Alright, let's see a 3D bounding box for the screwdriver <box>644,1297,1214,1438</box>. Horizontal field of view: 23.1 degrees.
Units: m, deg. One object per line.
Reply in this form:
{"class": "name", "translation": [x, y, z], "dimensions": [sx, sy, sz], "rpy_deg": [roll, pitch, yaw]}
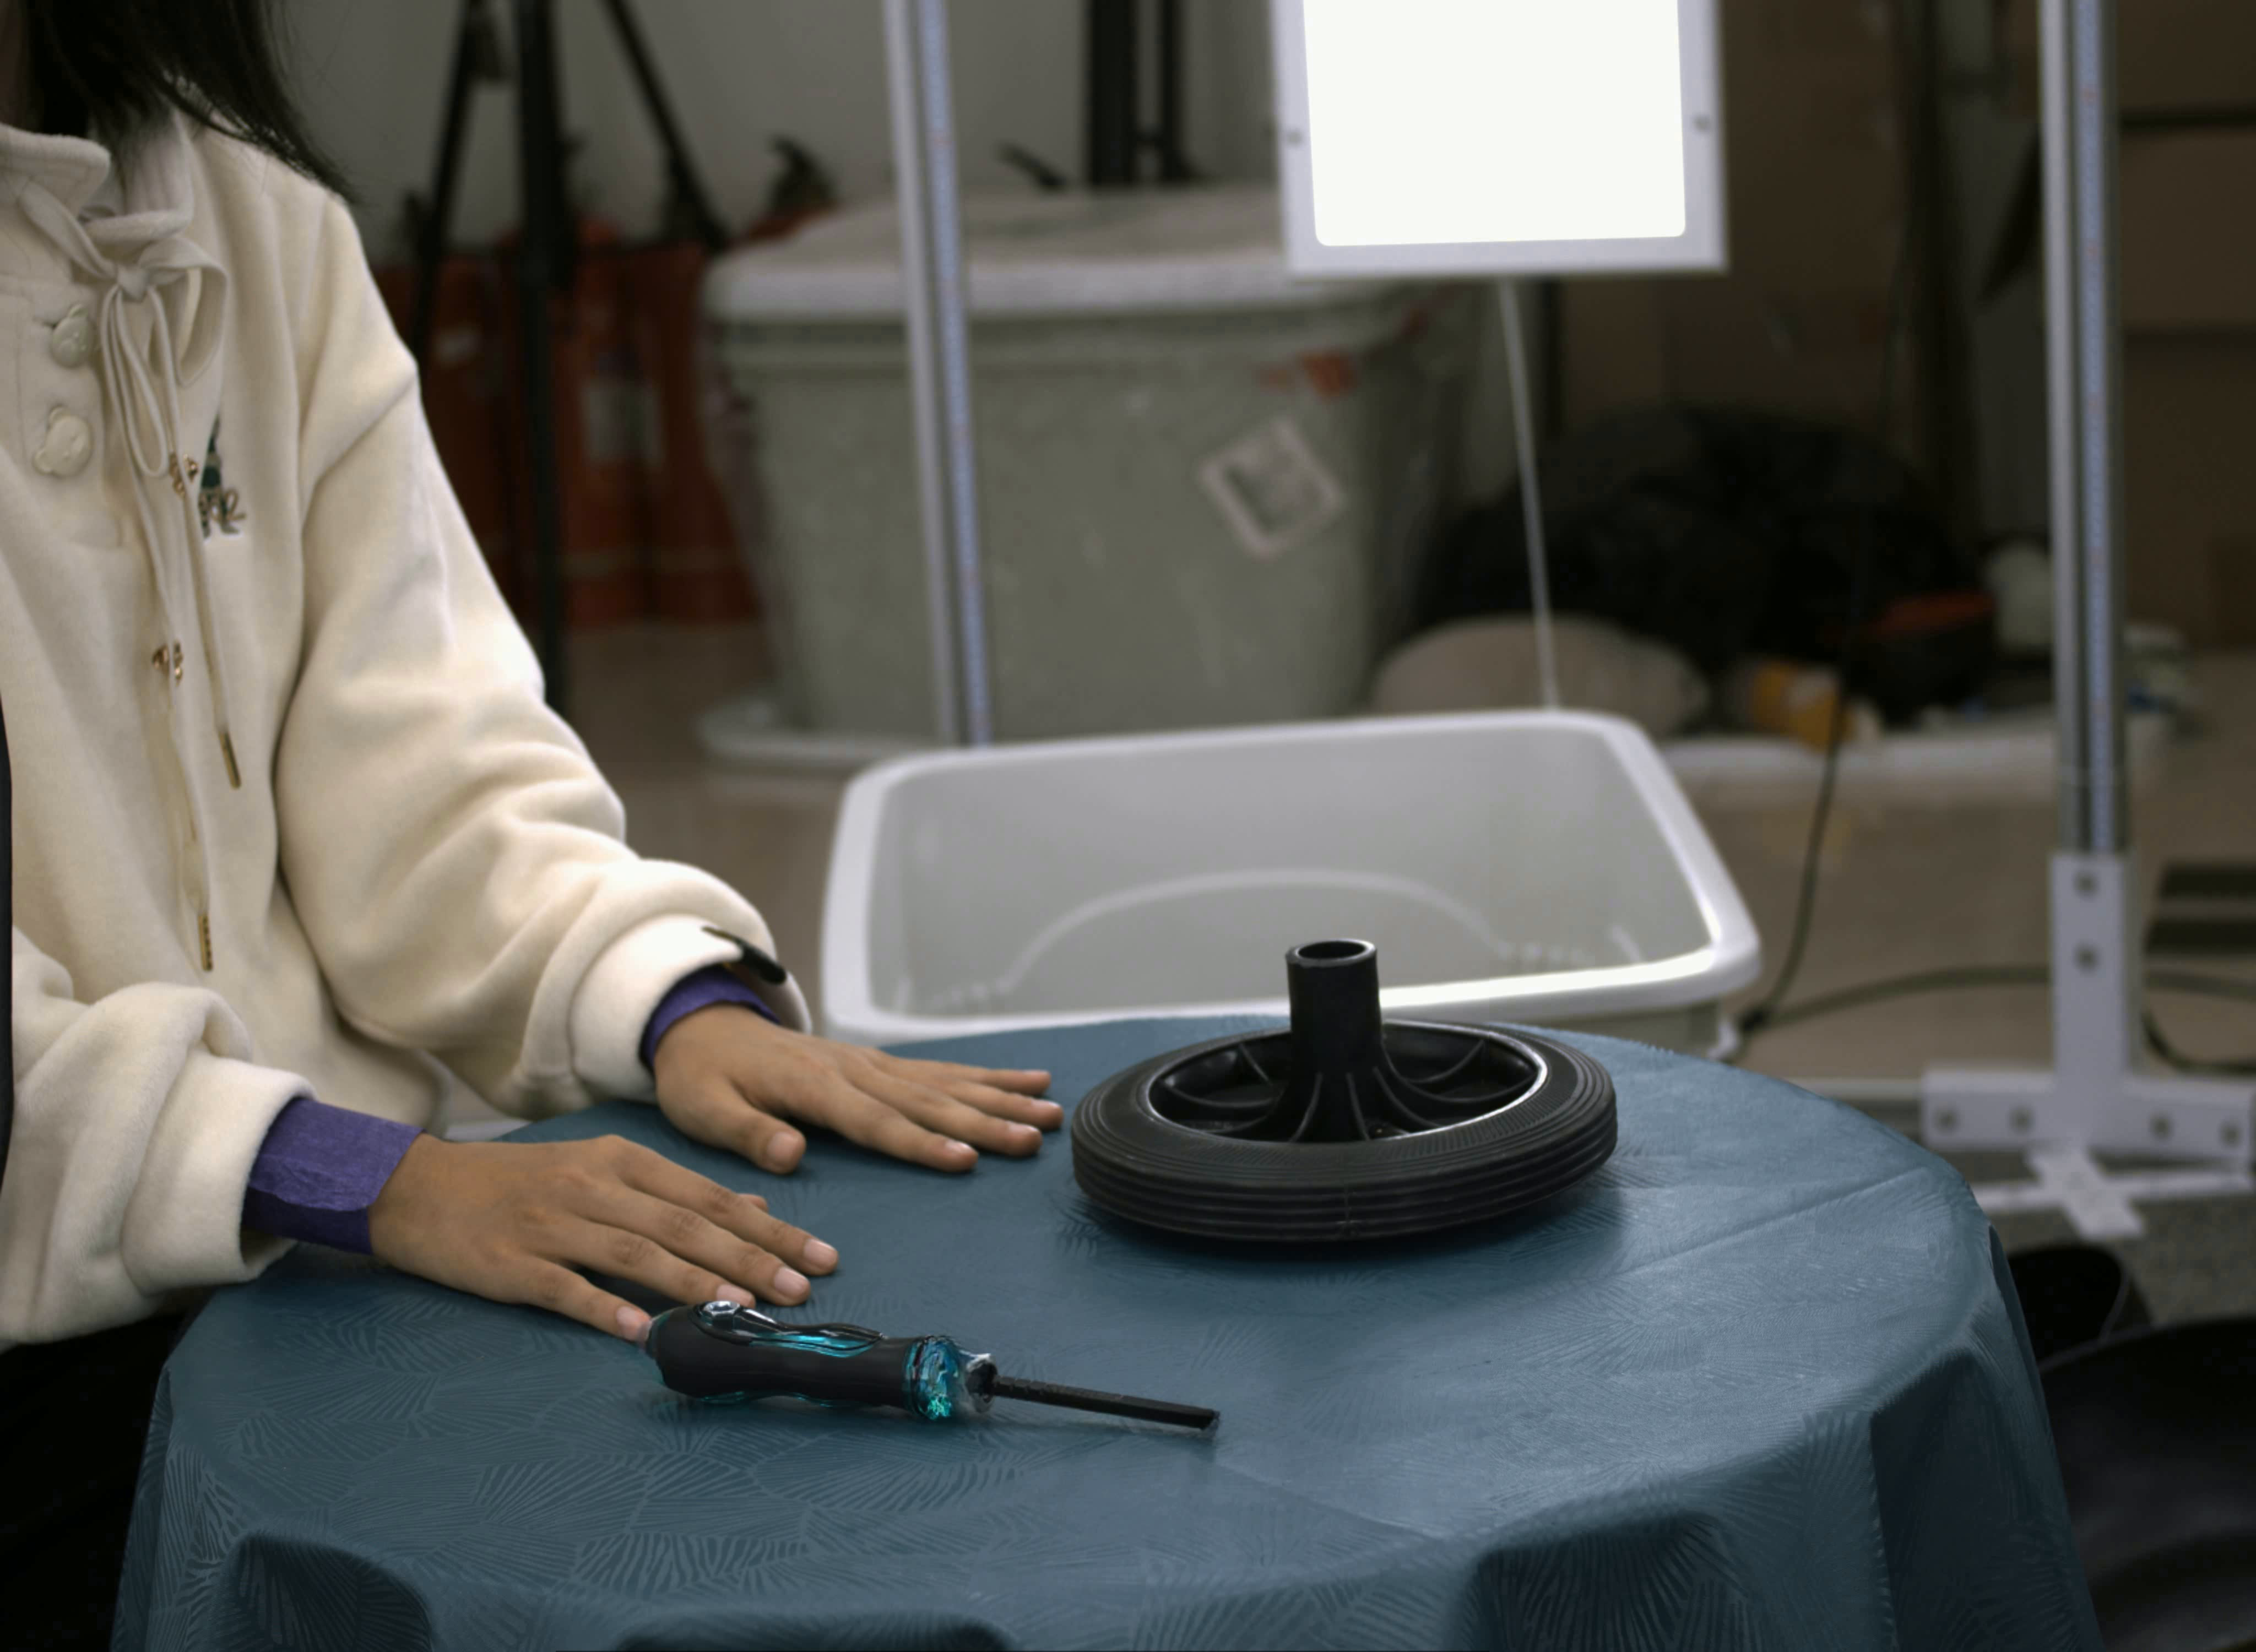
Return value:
{"class": "screwdriver", "translation": [-0.061, 0.172, 1.693], "dimensions": [0.193, 0.034, 0.033], "rpy_deg": [7, 17, 24]}

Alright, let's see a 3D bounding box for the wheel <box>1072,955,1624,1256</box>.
{"class": "wheel", "translation": [0.075, 0.086, 1.879], "dimensions": [0.194, 0.079, 0.183], "rpy_deg": [9, 20, 37]}
